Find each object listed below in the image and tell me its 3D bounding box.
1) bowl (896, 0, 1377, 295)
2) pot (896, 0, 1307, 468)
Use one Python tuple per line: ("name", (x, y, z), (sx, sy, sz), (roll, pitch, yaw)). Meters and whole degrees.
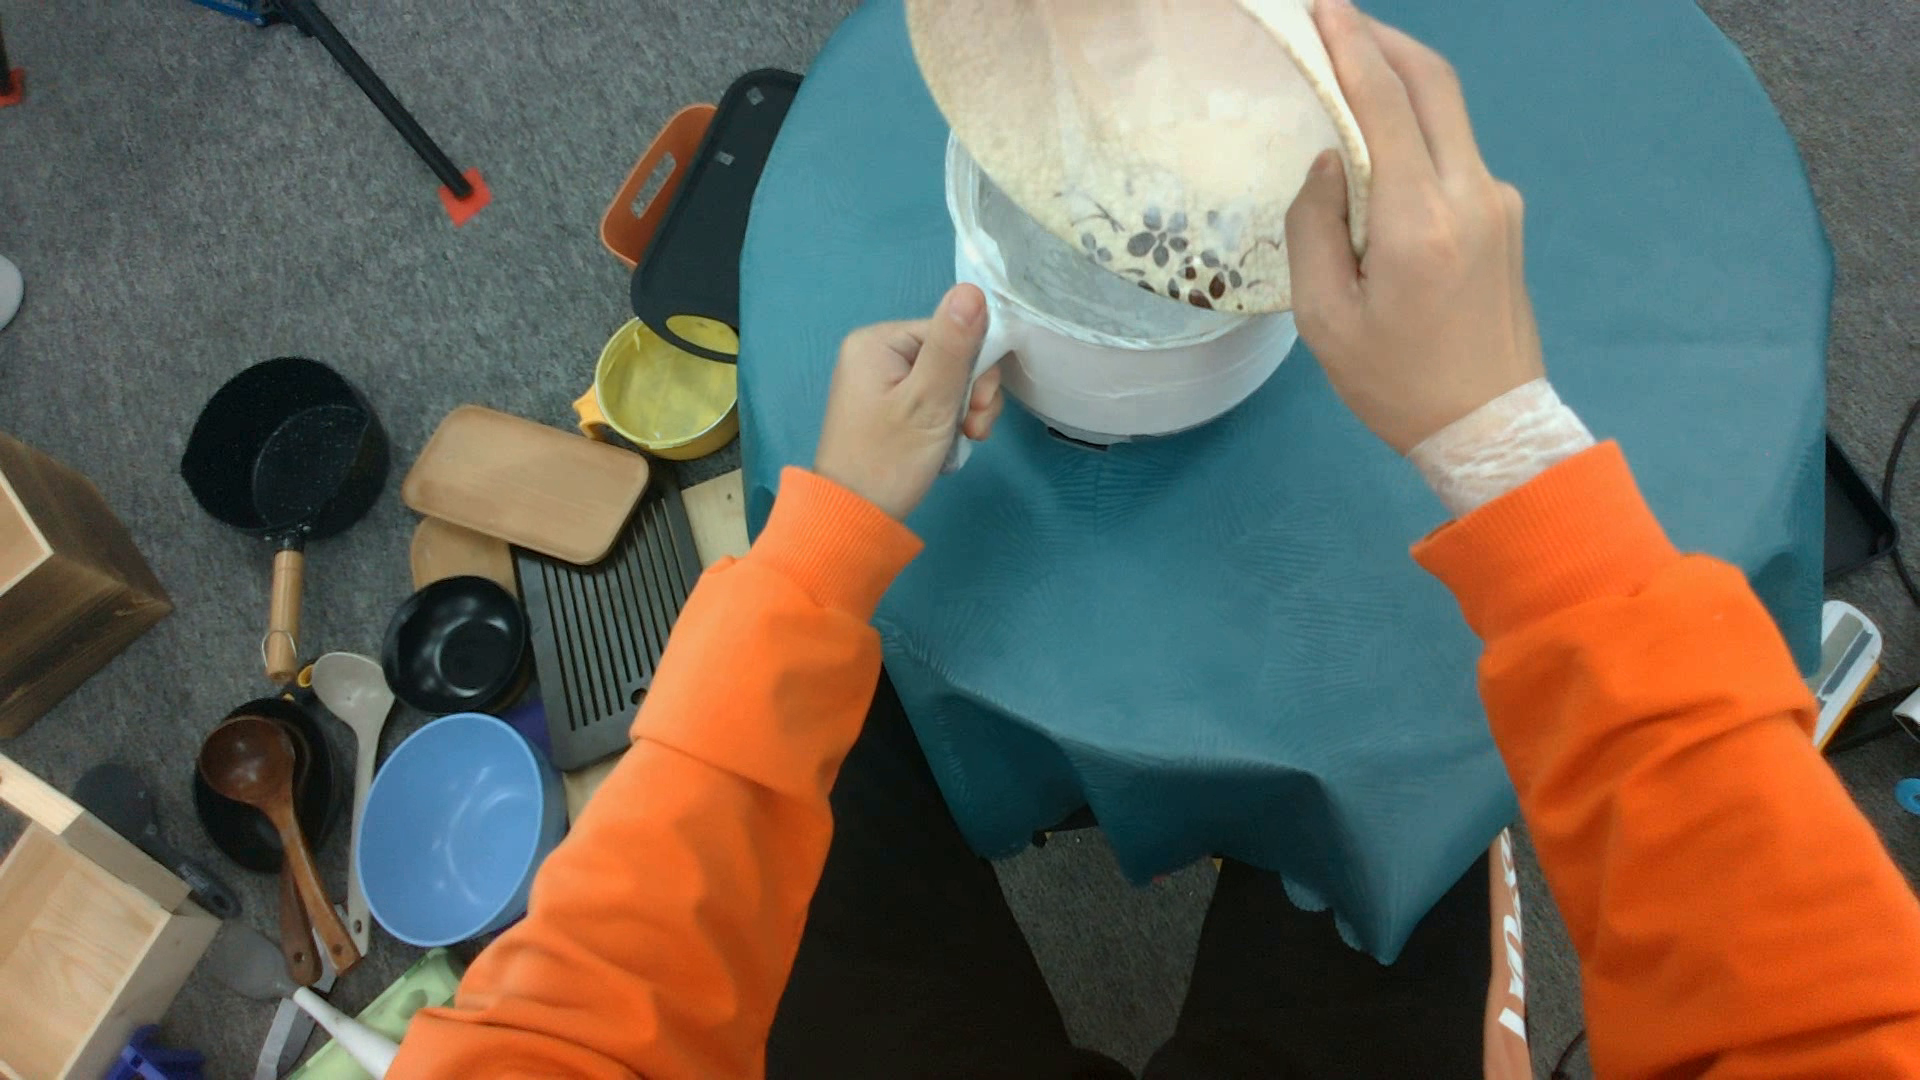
("bowl", (0.080, -0.188, 0.533), (0.204, 0.203, 0.078), (27, 77, 16))
("pot", (0.062, -0.131, 0.661), (0.234, 0.136, 0.179), (-43, 75, -10))
